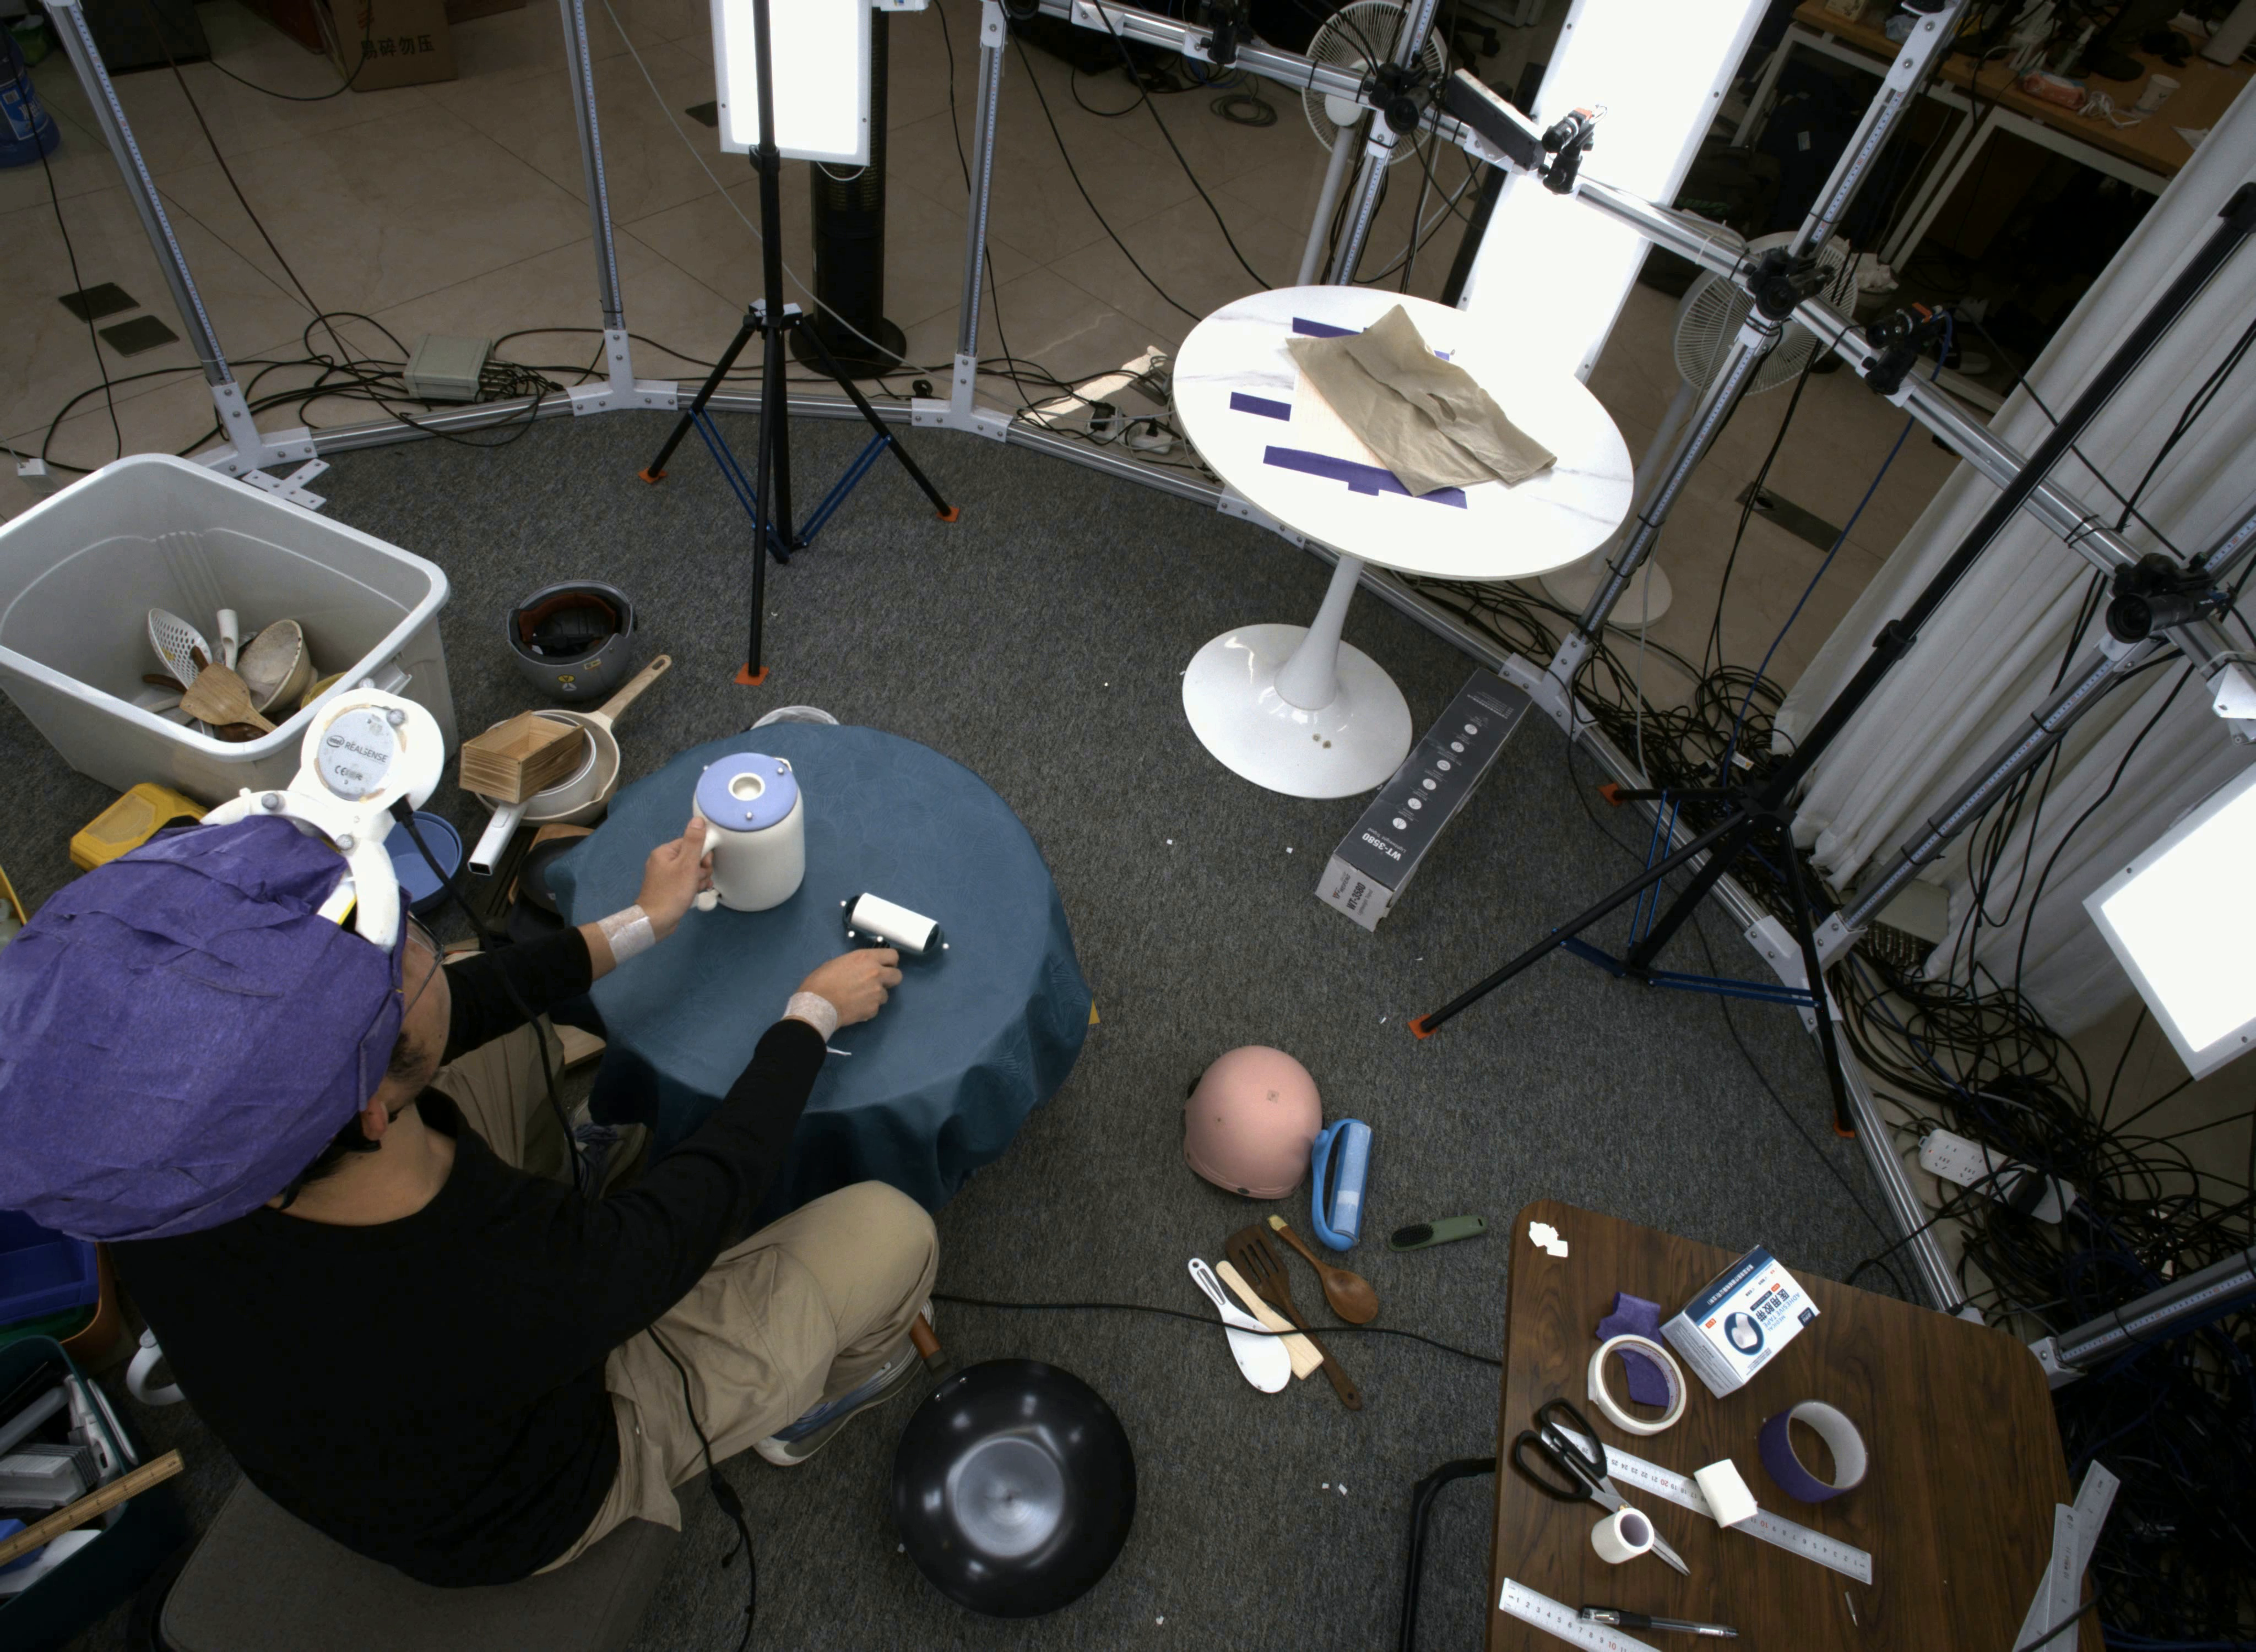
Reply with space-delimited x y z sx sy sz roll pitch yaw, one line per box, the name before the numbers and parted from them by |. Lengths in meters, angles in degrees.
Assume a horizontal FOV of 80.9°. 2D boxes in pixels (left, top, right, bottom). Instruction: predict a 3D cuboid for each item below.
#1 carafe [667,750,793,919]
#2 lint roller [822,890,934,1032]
carafe | -0.494 0.023 1.572 0.130 0.186 0.190 29 54 11
lint roller | -0.326 0.166 1.580 0.133 0.049 0.178 21 46 2
